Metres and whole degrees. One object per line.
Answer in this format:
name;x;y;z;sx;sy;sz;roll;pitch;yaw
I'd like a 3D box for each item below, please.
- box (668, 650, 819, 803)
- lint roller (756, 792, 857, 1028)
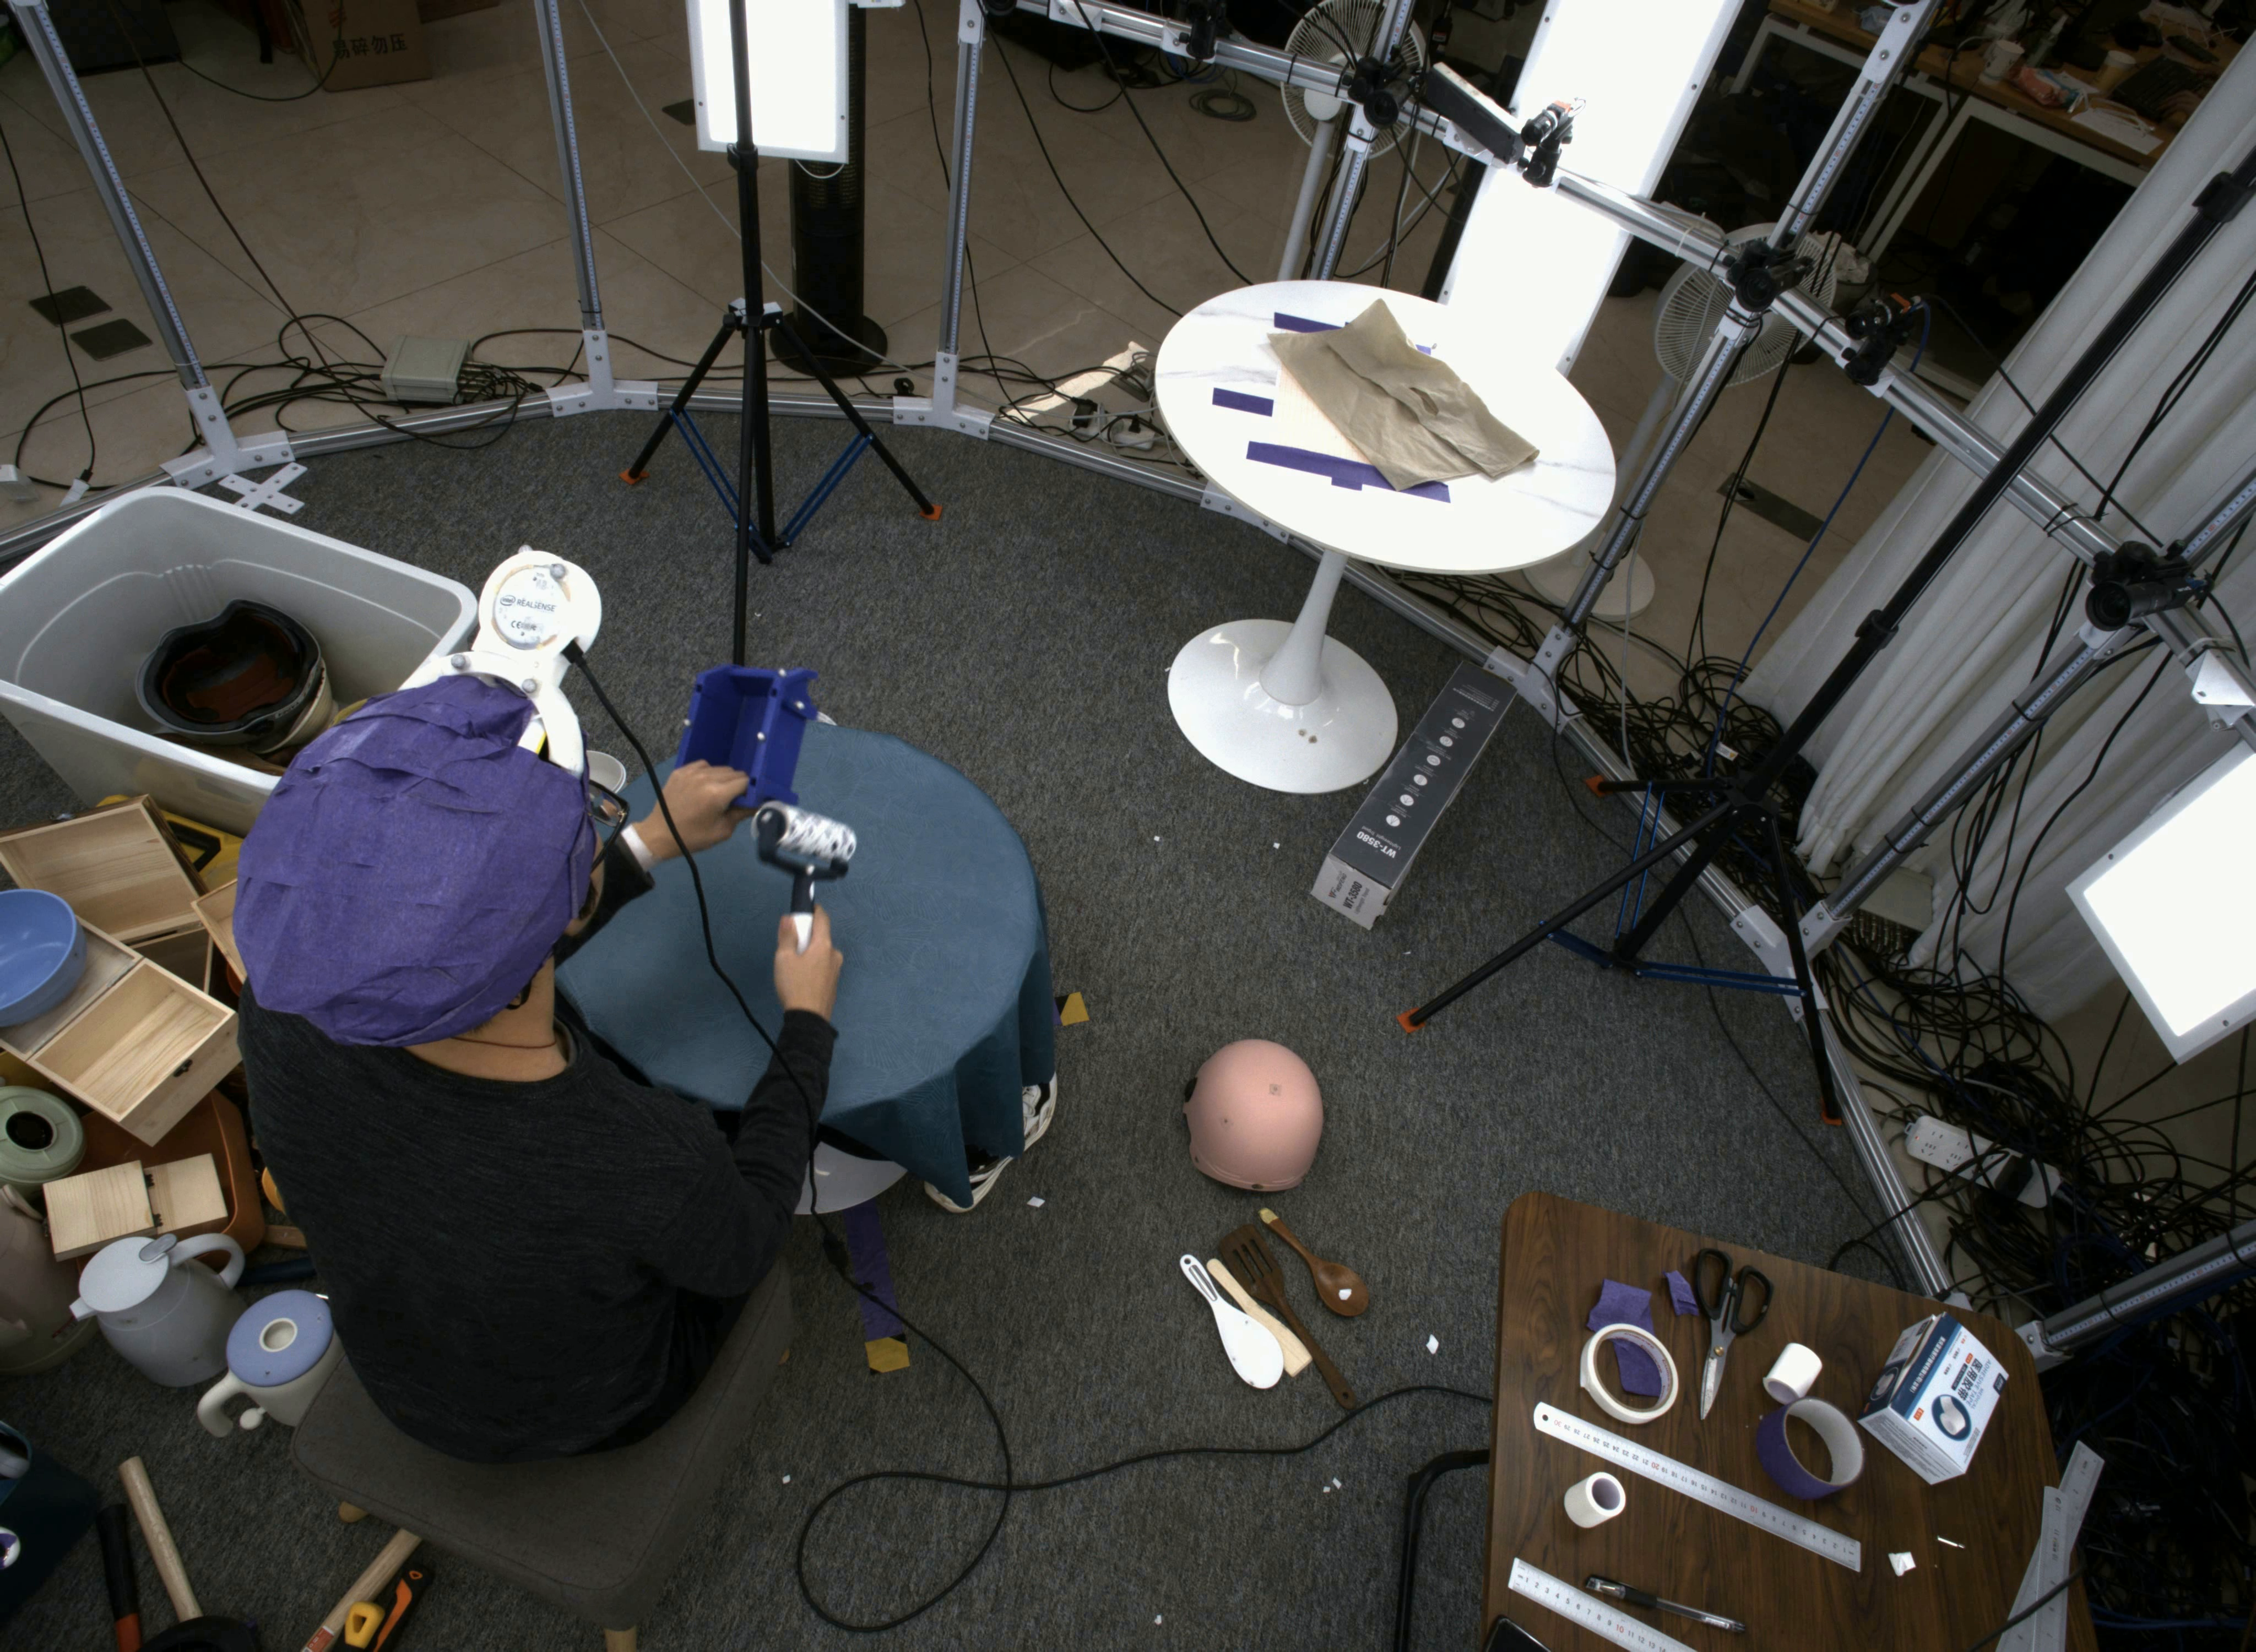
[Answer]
box;-0.434;-0.115;1.470;0.121;0.084;0.180;7;82;22
lint roller;-0.361;0.098;1.453;0.049;0.179;0.248;-2;83;12
